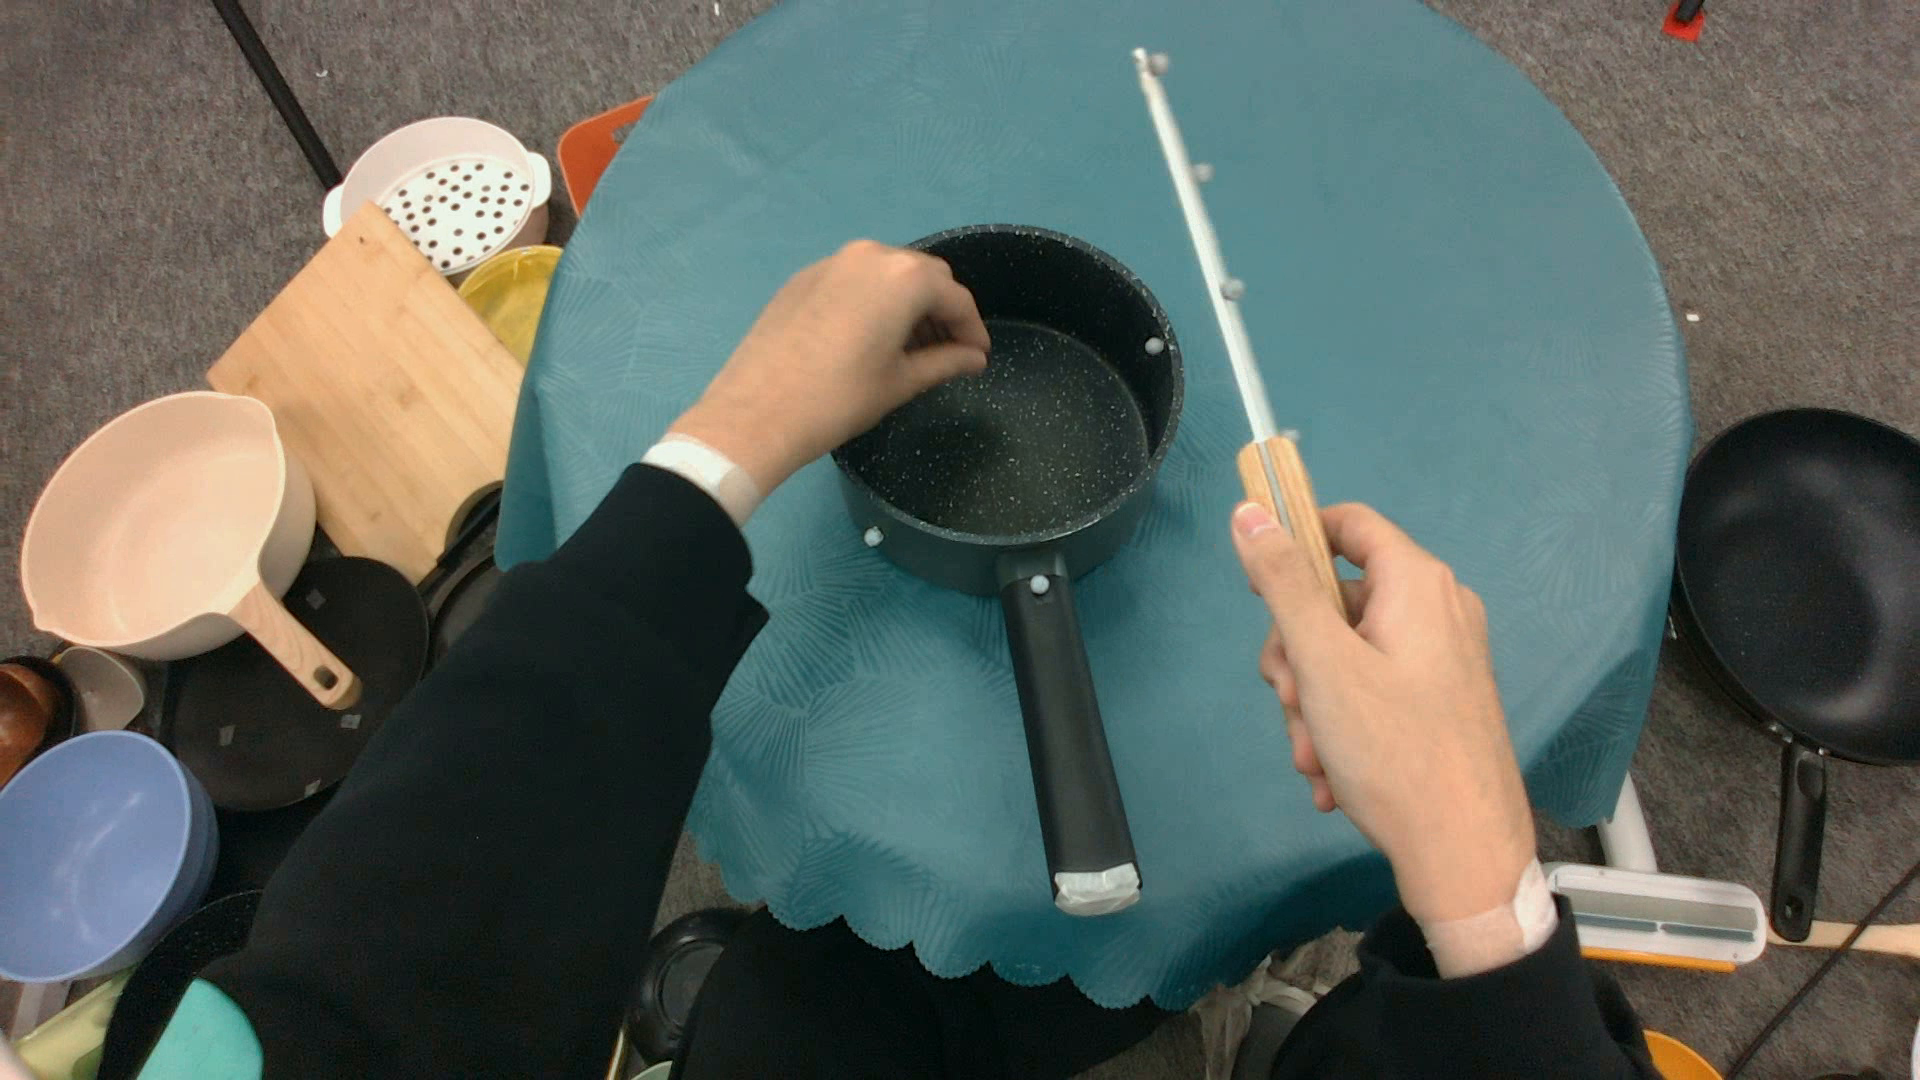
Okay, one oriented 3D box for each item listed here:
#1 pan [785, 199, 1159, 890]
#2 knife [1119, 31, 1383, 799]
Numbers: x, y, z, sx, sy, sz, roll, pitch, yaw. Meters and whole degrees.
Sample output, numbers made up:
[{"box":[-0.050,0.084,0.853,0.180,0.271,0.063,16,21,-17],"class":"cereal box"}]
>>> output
[{"box":[0.016,-0.001,0.629,0.172,0.086,0.330,-7,65,-1],"class":"pan"},{"box":[0.104,-0.057,0.519,0.021,0.114,0.316,-18,65,16],"class":"knife"}]
